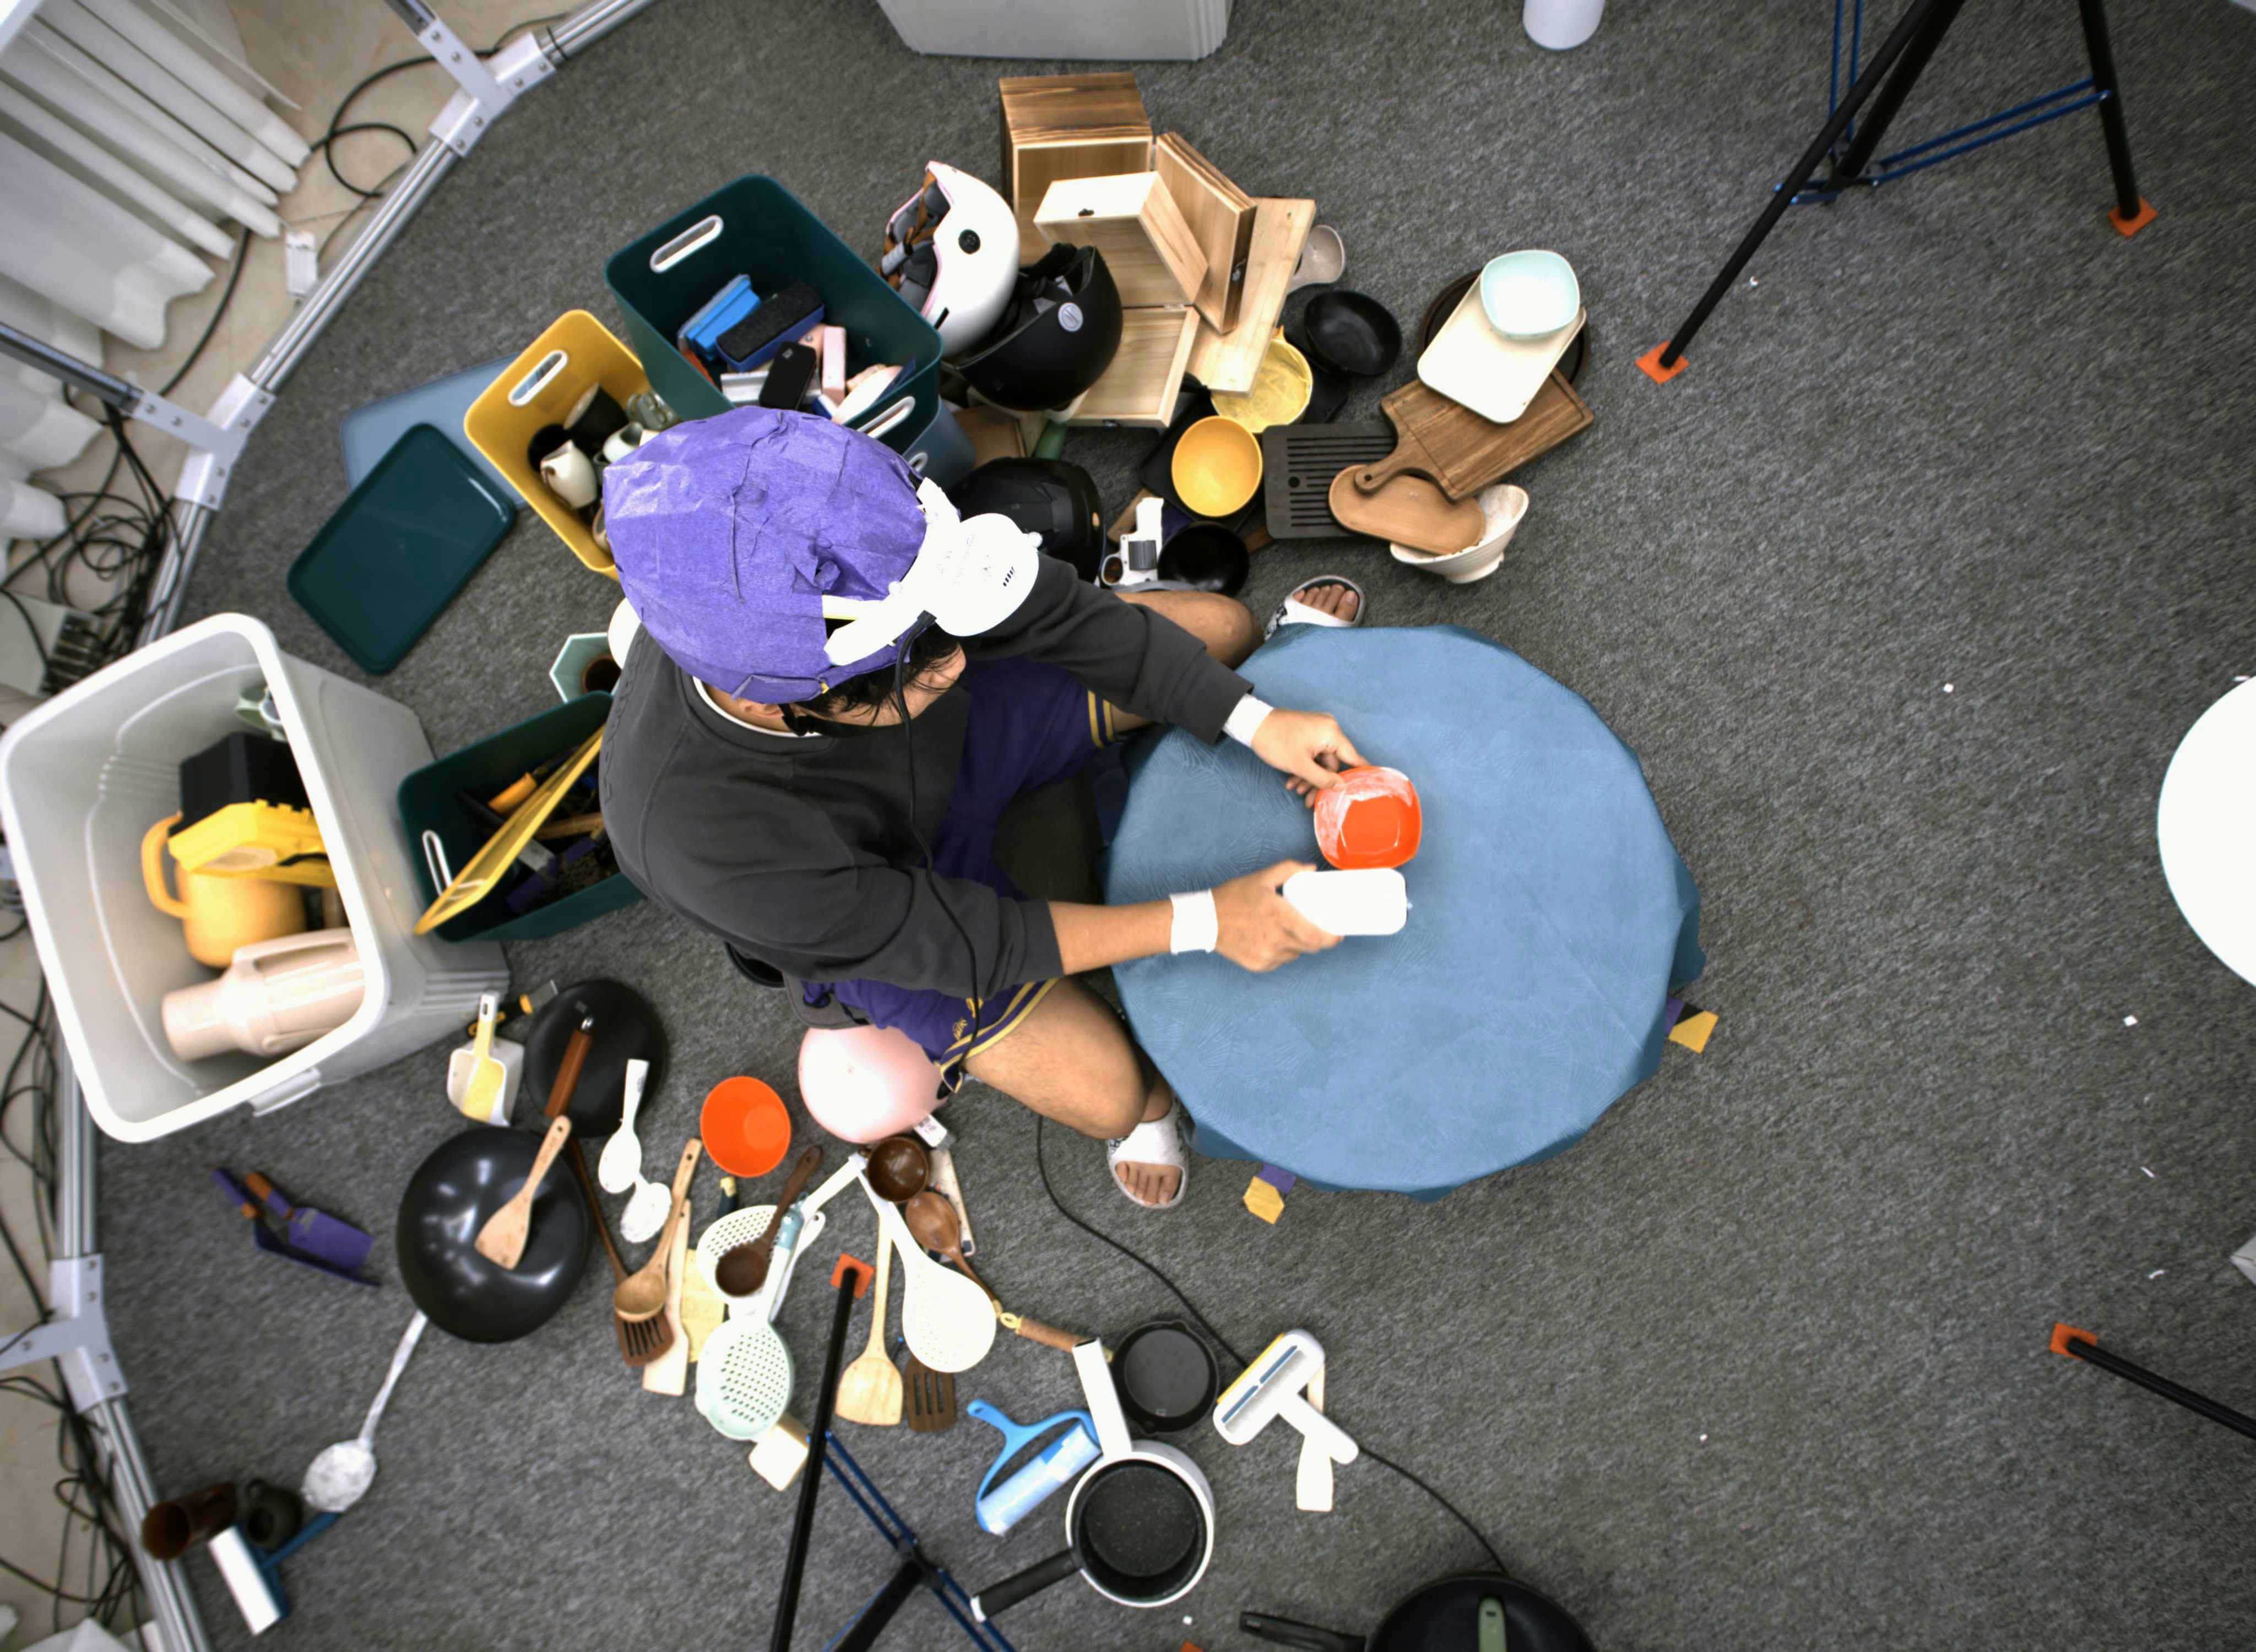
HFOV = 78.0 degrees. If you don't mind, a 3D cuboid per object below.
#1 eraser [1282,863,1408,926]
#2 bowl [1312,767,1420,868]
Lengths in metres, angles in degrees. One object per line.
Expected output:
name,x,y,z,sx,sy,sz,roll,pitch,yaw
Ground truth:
eraser,0.218,0.068,1.398,0.132,0.034,0.063,-3,87,31
bowl,0.250,-0.005,1.439,0.119,0.051,0.118,-1,87,16
